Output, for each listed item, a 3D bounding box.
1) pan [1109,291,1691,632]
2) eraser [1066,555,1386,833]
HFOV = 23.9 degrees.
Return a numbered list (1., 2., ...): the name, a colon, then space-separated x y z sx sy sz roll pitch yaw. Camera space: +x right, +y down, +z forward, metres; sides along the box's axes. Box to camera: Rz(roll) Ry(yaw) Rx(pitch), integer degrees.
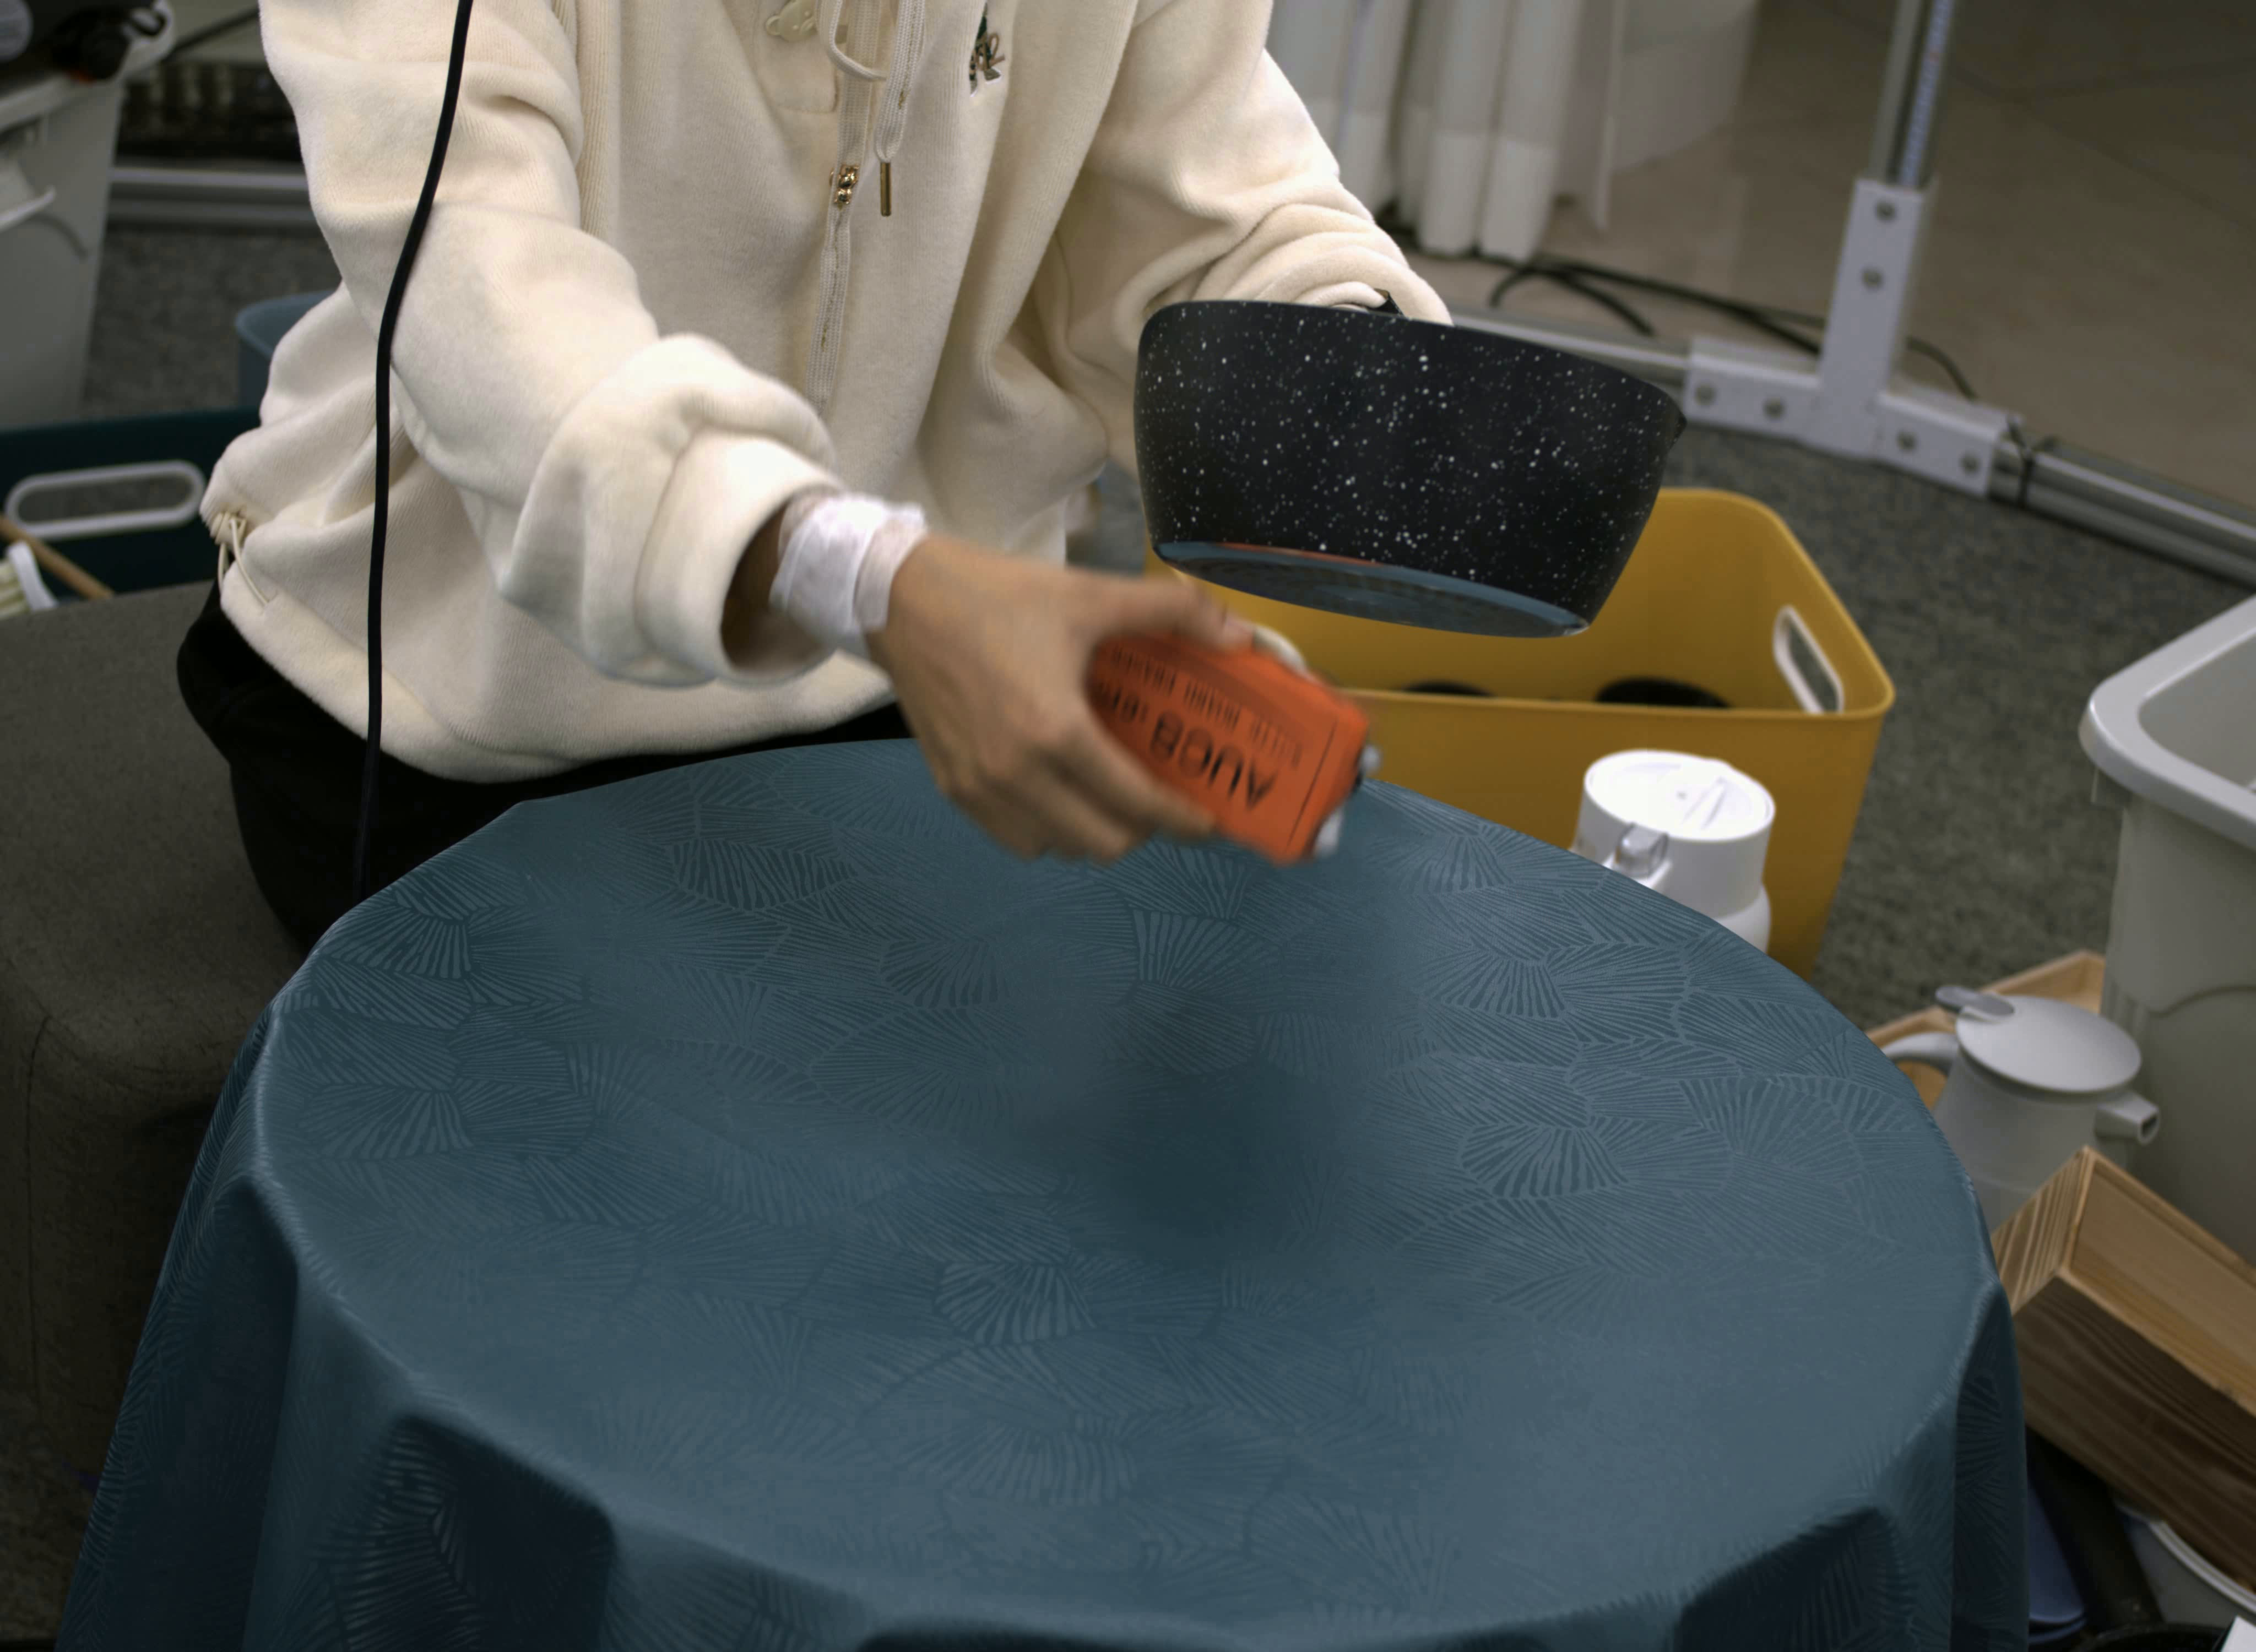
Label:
1. pan: 0.075 -0.130 1.911 0.206 0.108 0.343 10 -2 -11
2. eraser: 0.032 -0.044 1.768 0.109 0.059 0.023 30 20 29
